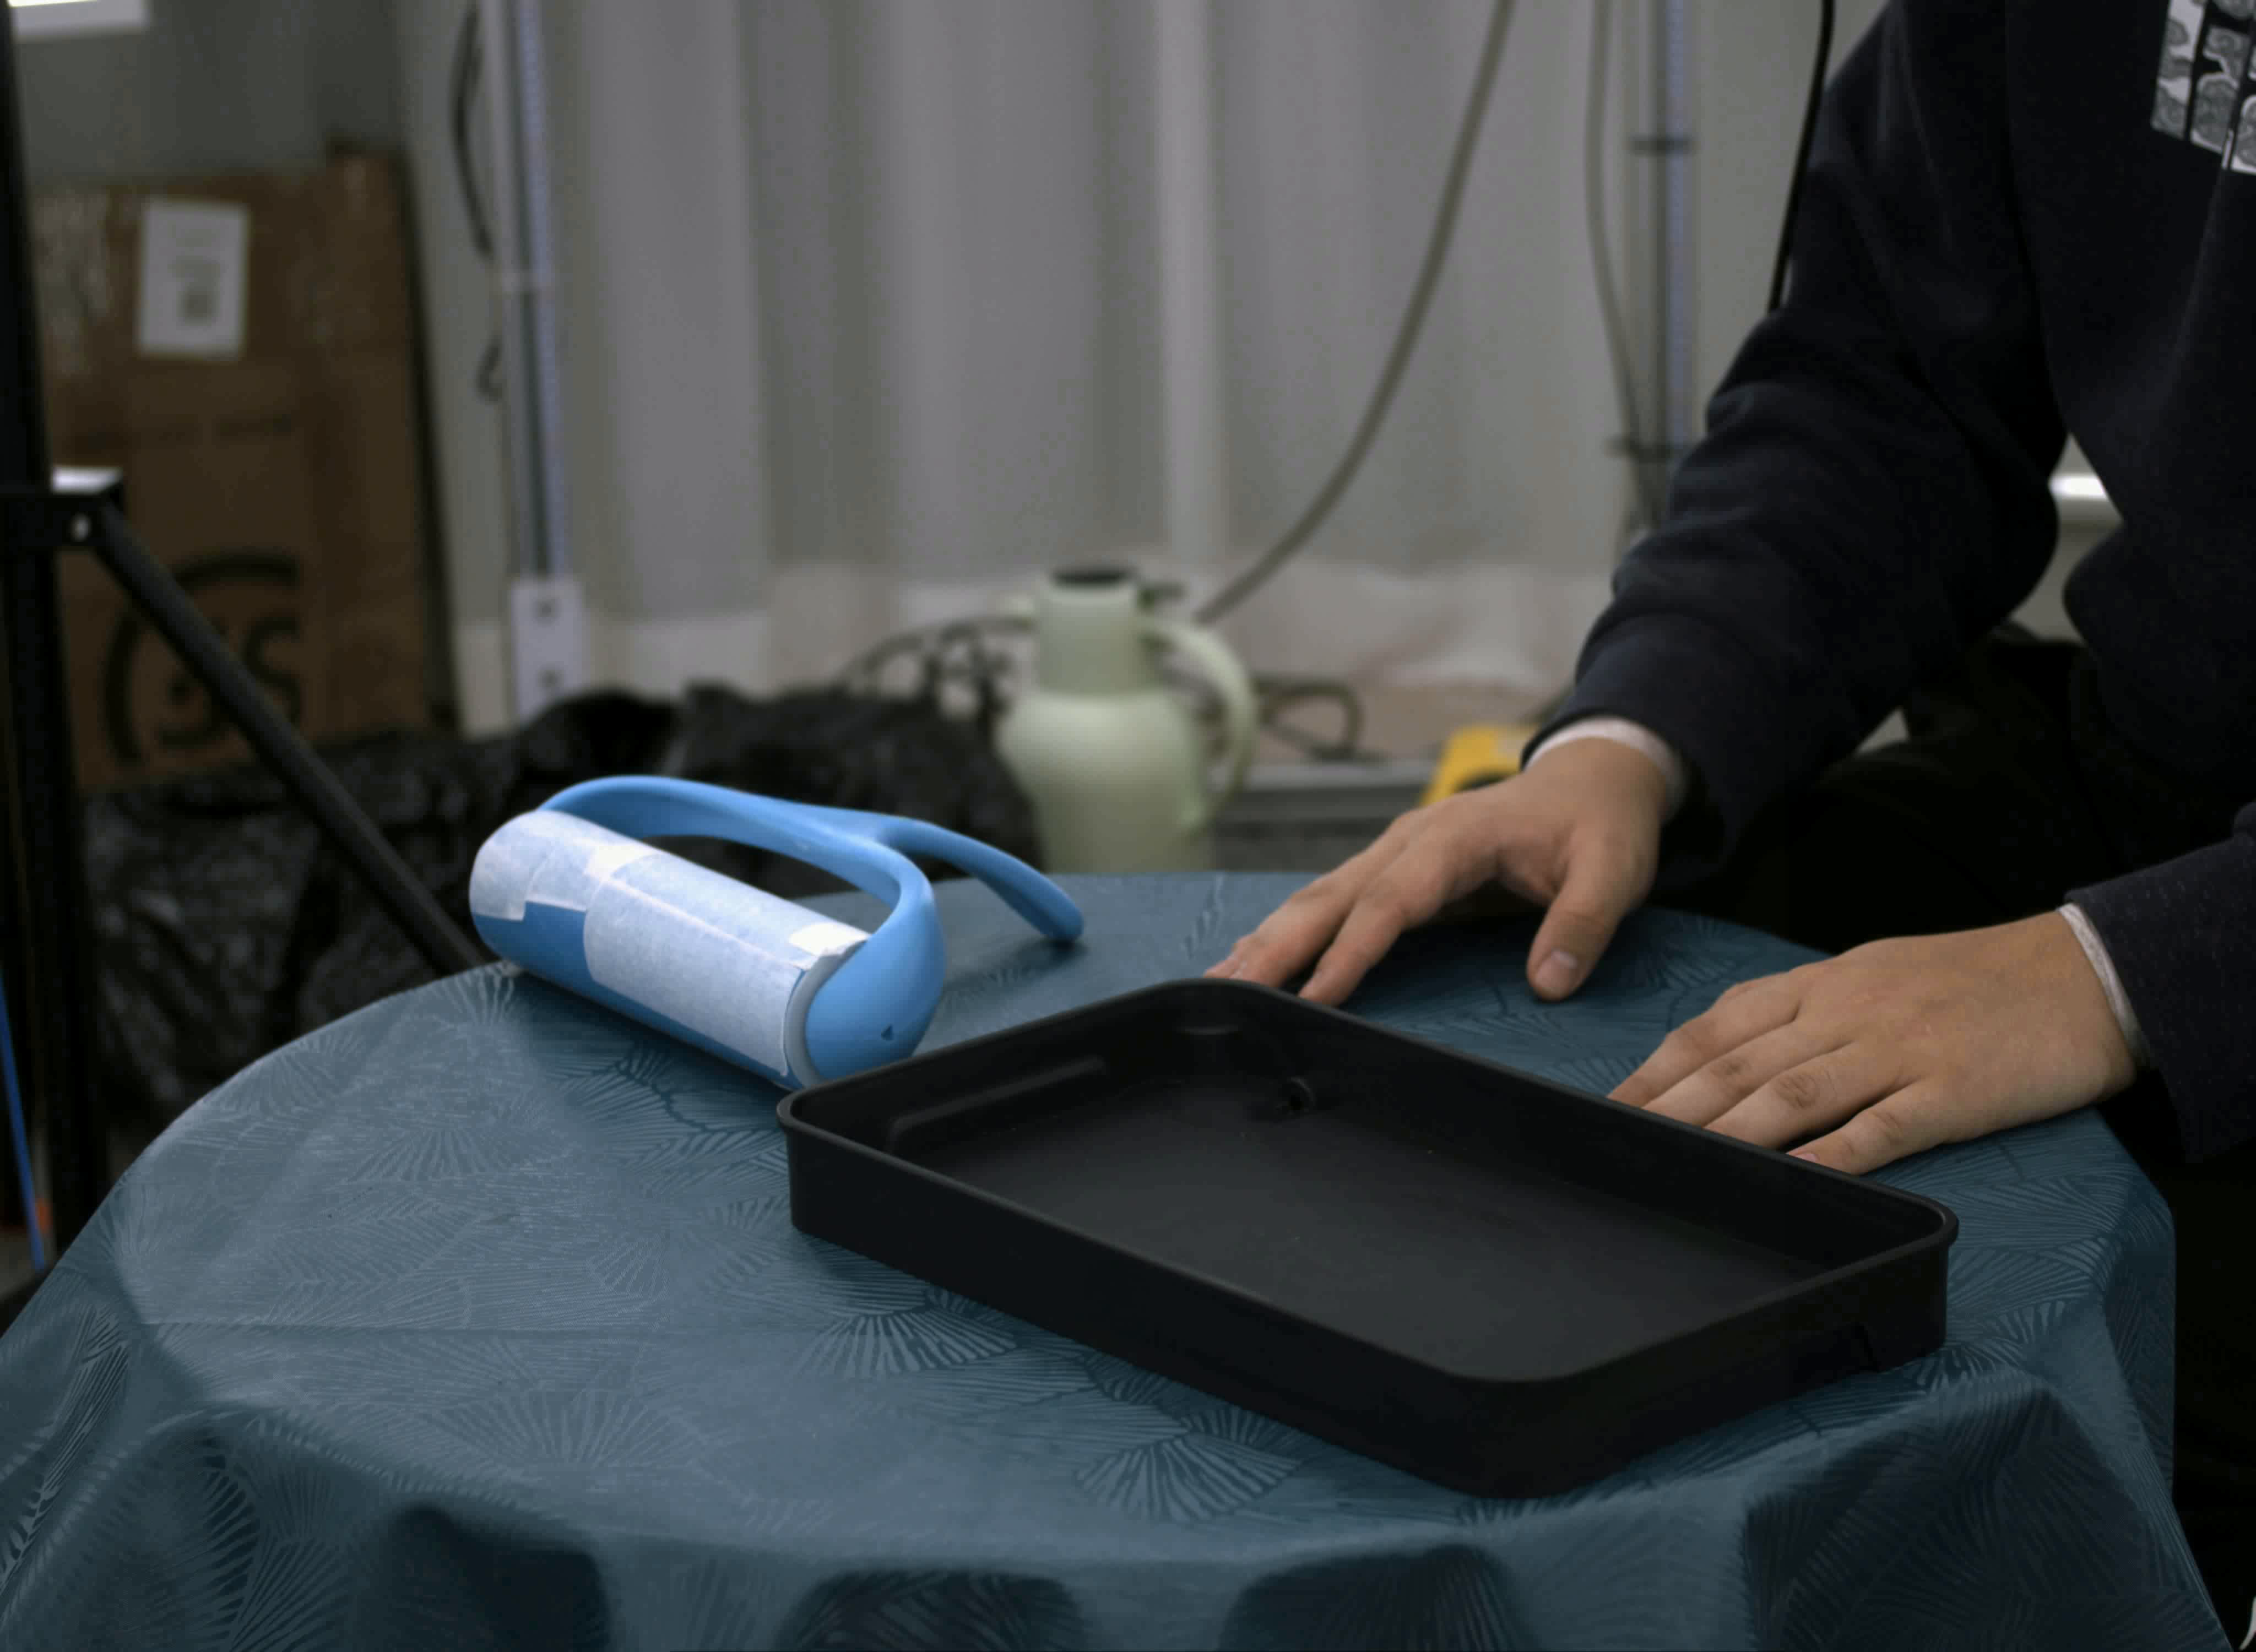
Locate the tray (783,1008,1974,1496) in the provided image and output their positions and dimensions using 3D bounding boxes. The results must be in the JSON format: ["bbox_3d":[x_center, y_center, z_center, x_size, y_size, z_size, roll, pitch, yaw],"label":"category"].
[{"bbox_3d":[0.064,0.113,1.477,0.180,0.037,0.325,-15,18,-38],"label":"tray"}]

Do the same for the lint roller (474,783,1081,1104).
[{"bbox_3d":[-0.094,0.027,1.746,0.176,0.068,0.234,-15,18,-34],"label":"lint roller"}]
